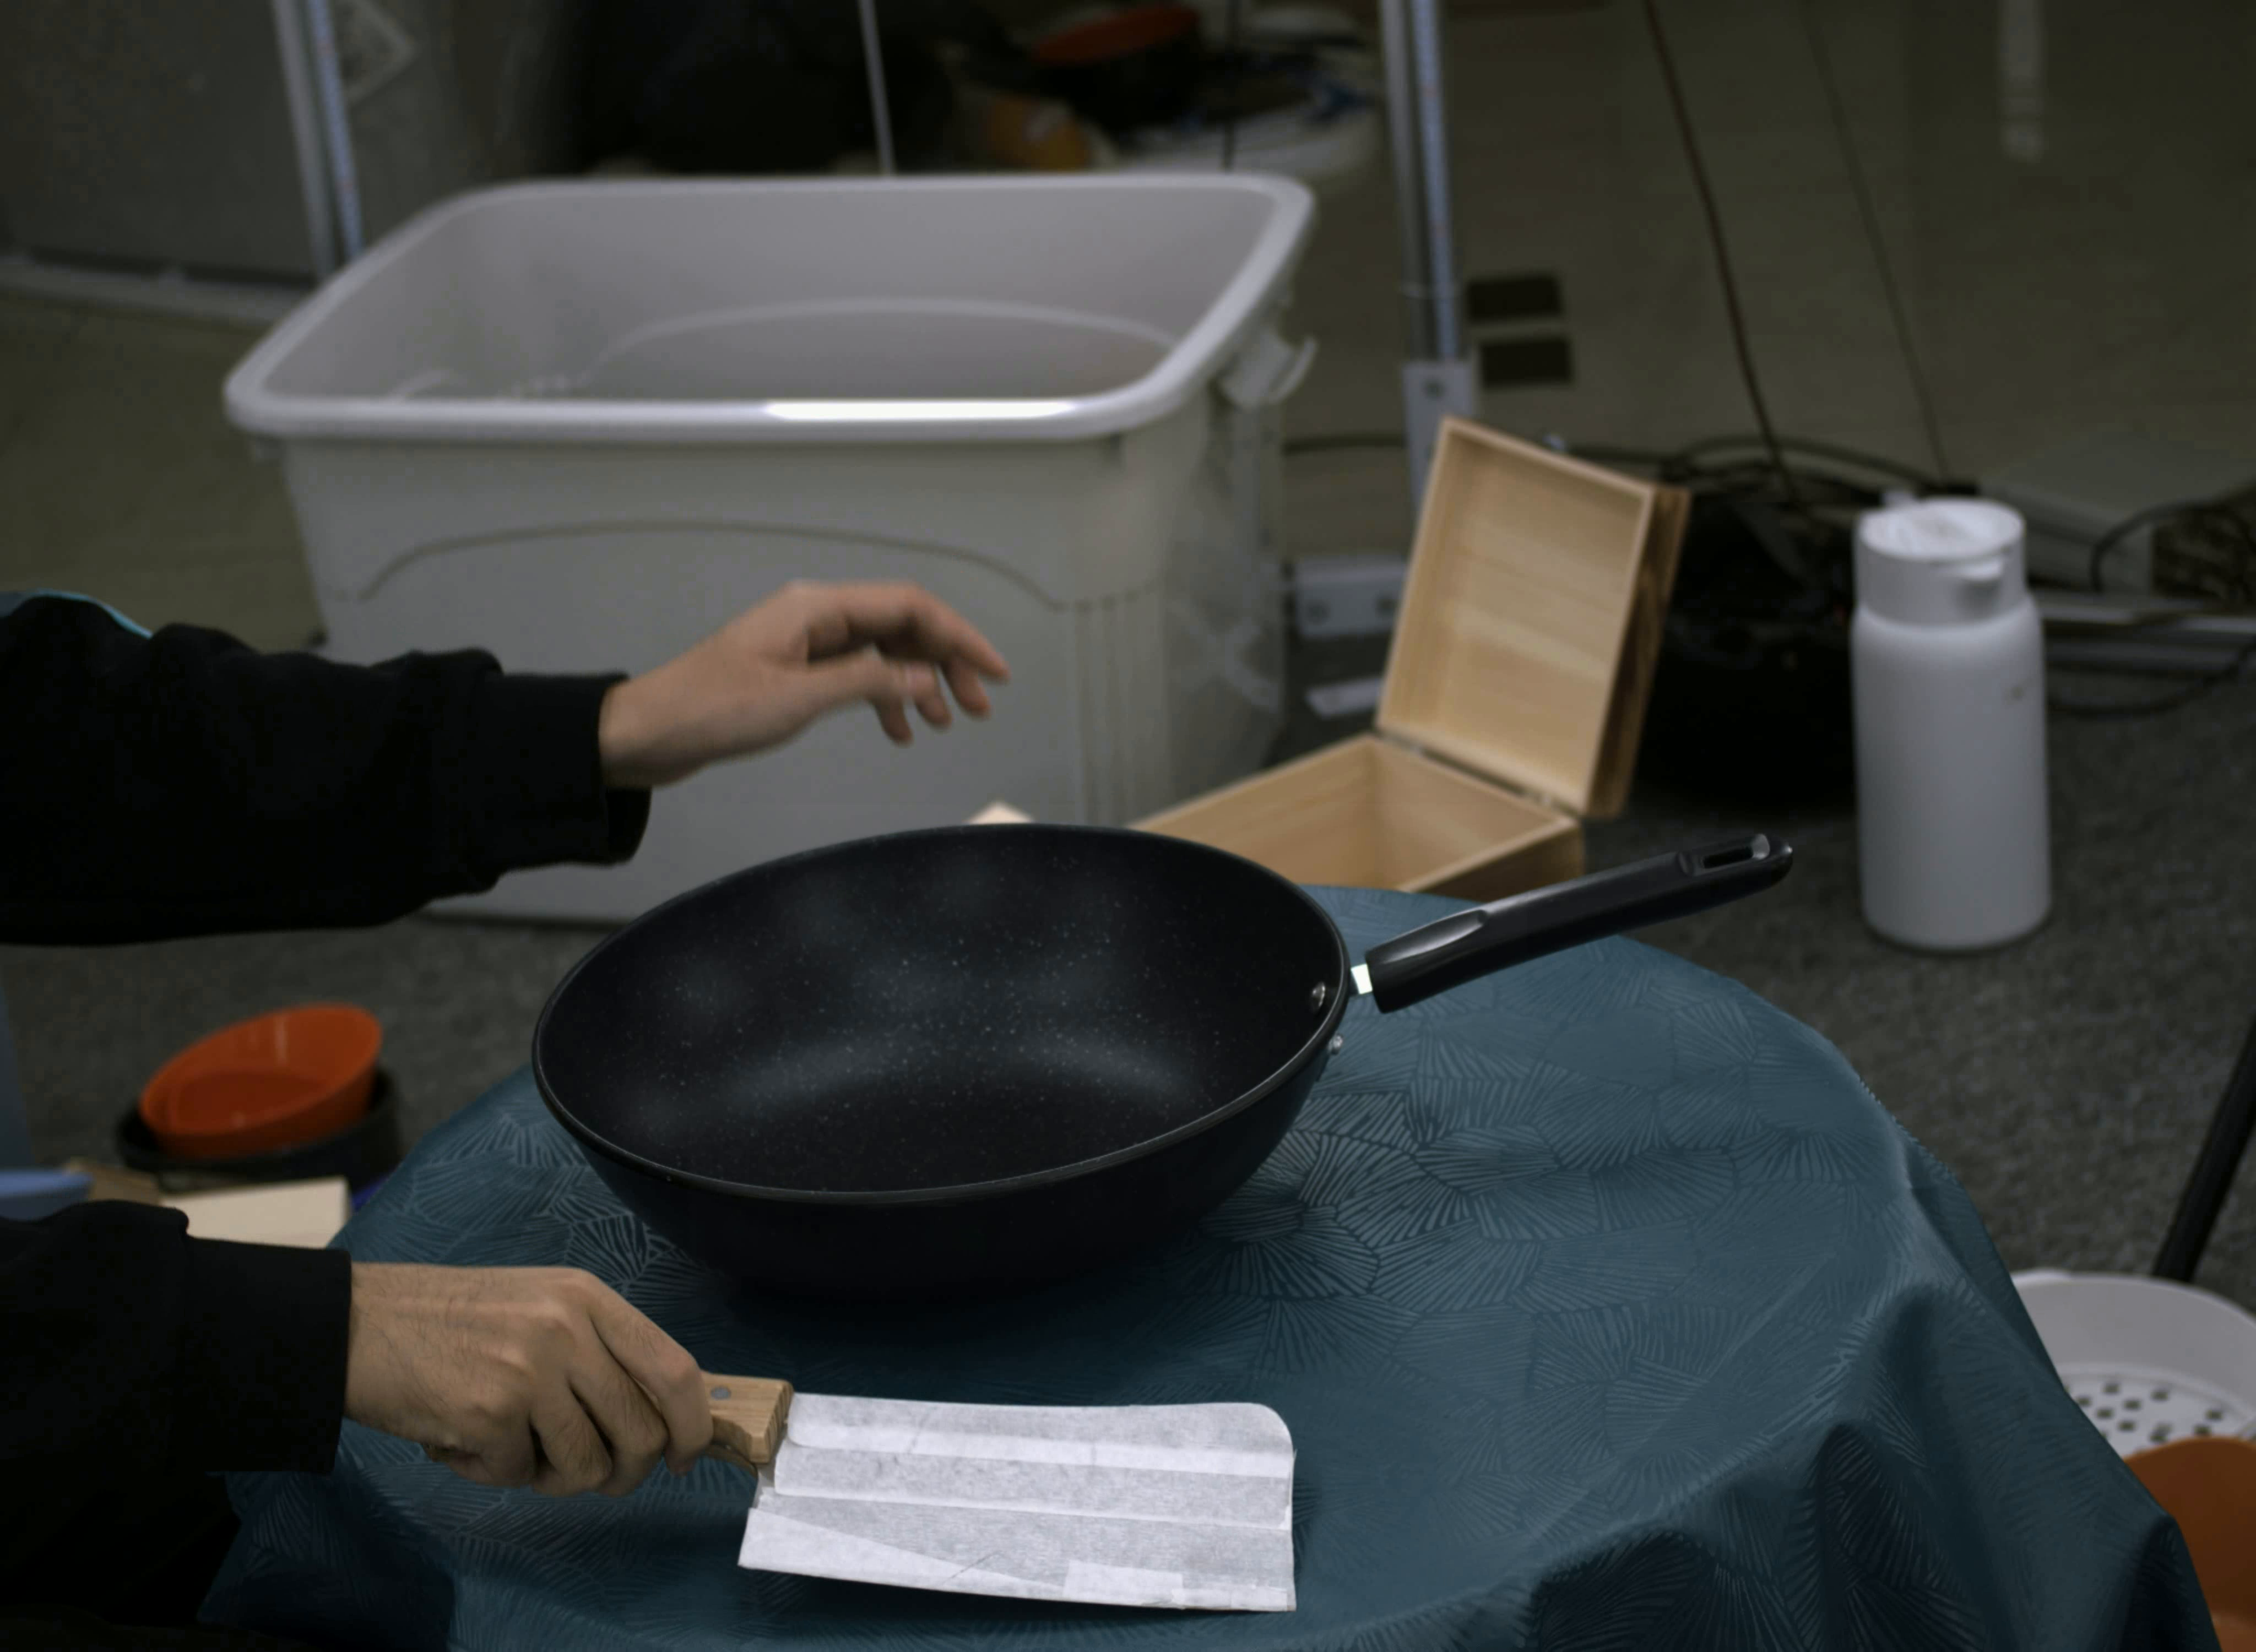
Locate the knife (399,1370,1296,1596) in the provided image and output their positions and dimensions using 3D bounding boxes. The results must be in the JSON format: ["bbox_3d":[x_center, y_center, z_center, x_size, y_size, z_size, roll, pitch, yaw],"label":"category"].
[{"bbox_3d":[-0.094,0.216,1.928,0.314,0.022,0.112,6,38,6],"label":"knife"}]

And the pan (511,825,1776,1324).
[{"bbox_3d":[0.009,0.086,2.132,0.476,0.113,0.305,-6,27,1],"label":"pan"}]
